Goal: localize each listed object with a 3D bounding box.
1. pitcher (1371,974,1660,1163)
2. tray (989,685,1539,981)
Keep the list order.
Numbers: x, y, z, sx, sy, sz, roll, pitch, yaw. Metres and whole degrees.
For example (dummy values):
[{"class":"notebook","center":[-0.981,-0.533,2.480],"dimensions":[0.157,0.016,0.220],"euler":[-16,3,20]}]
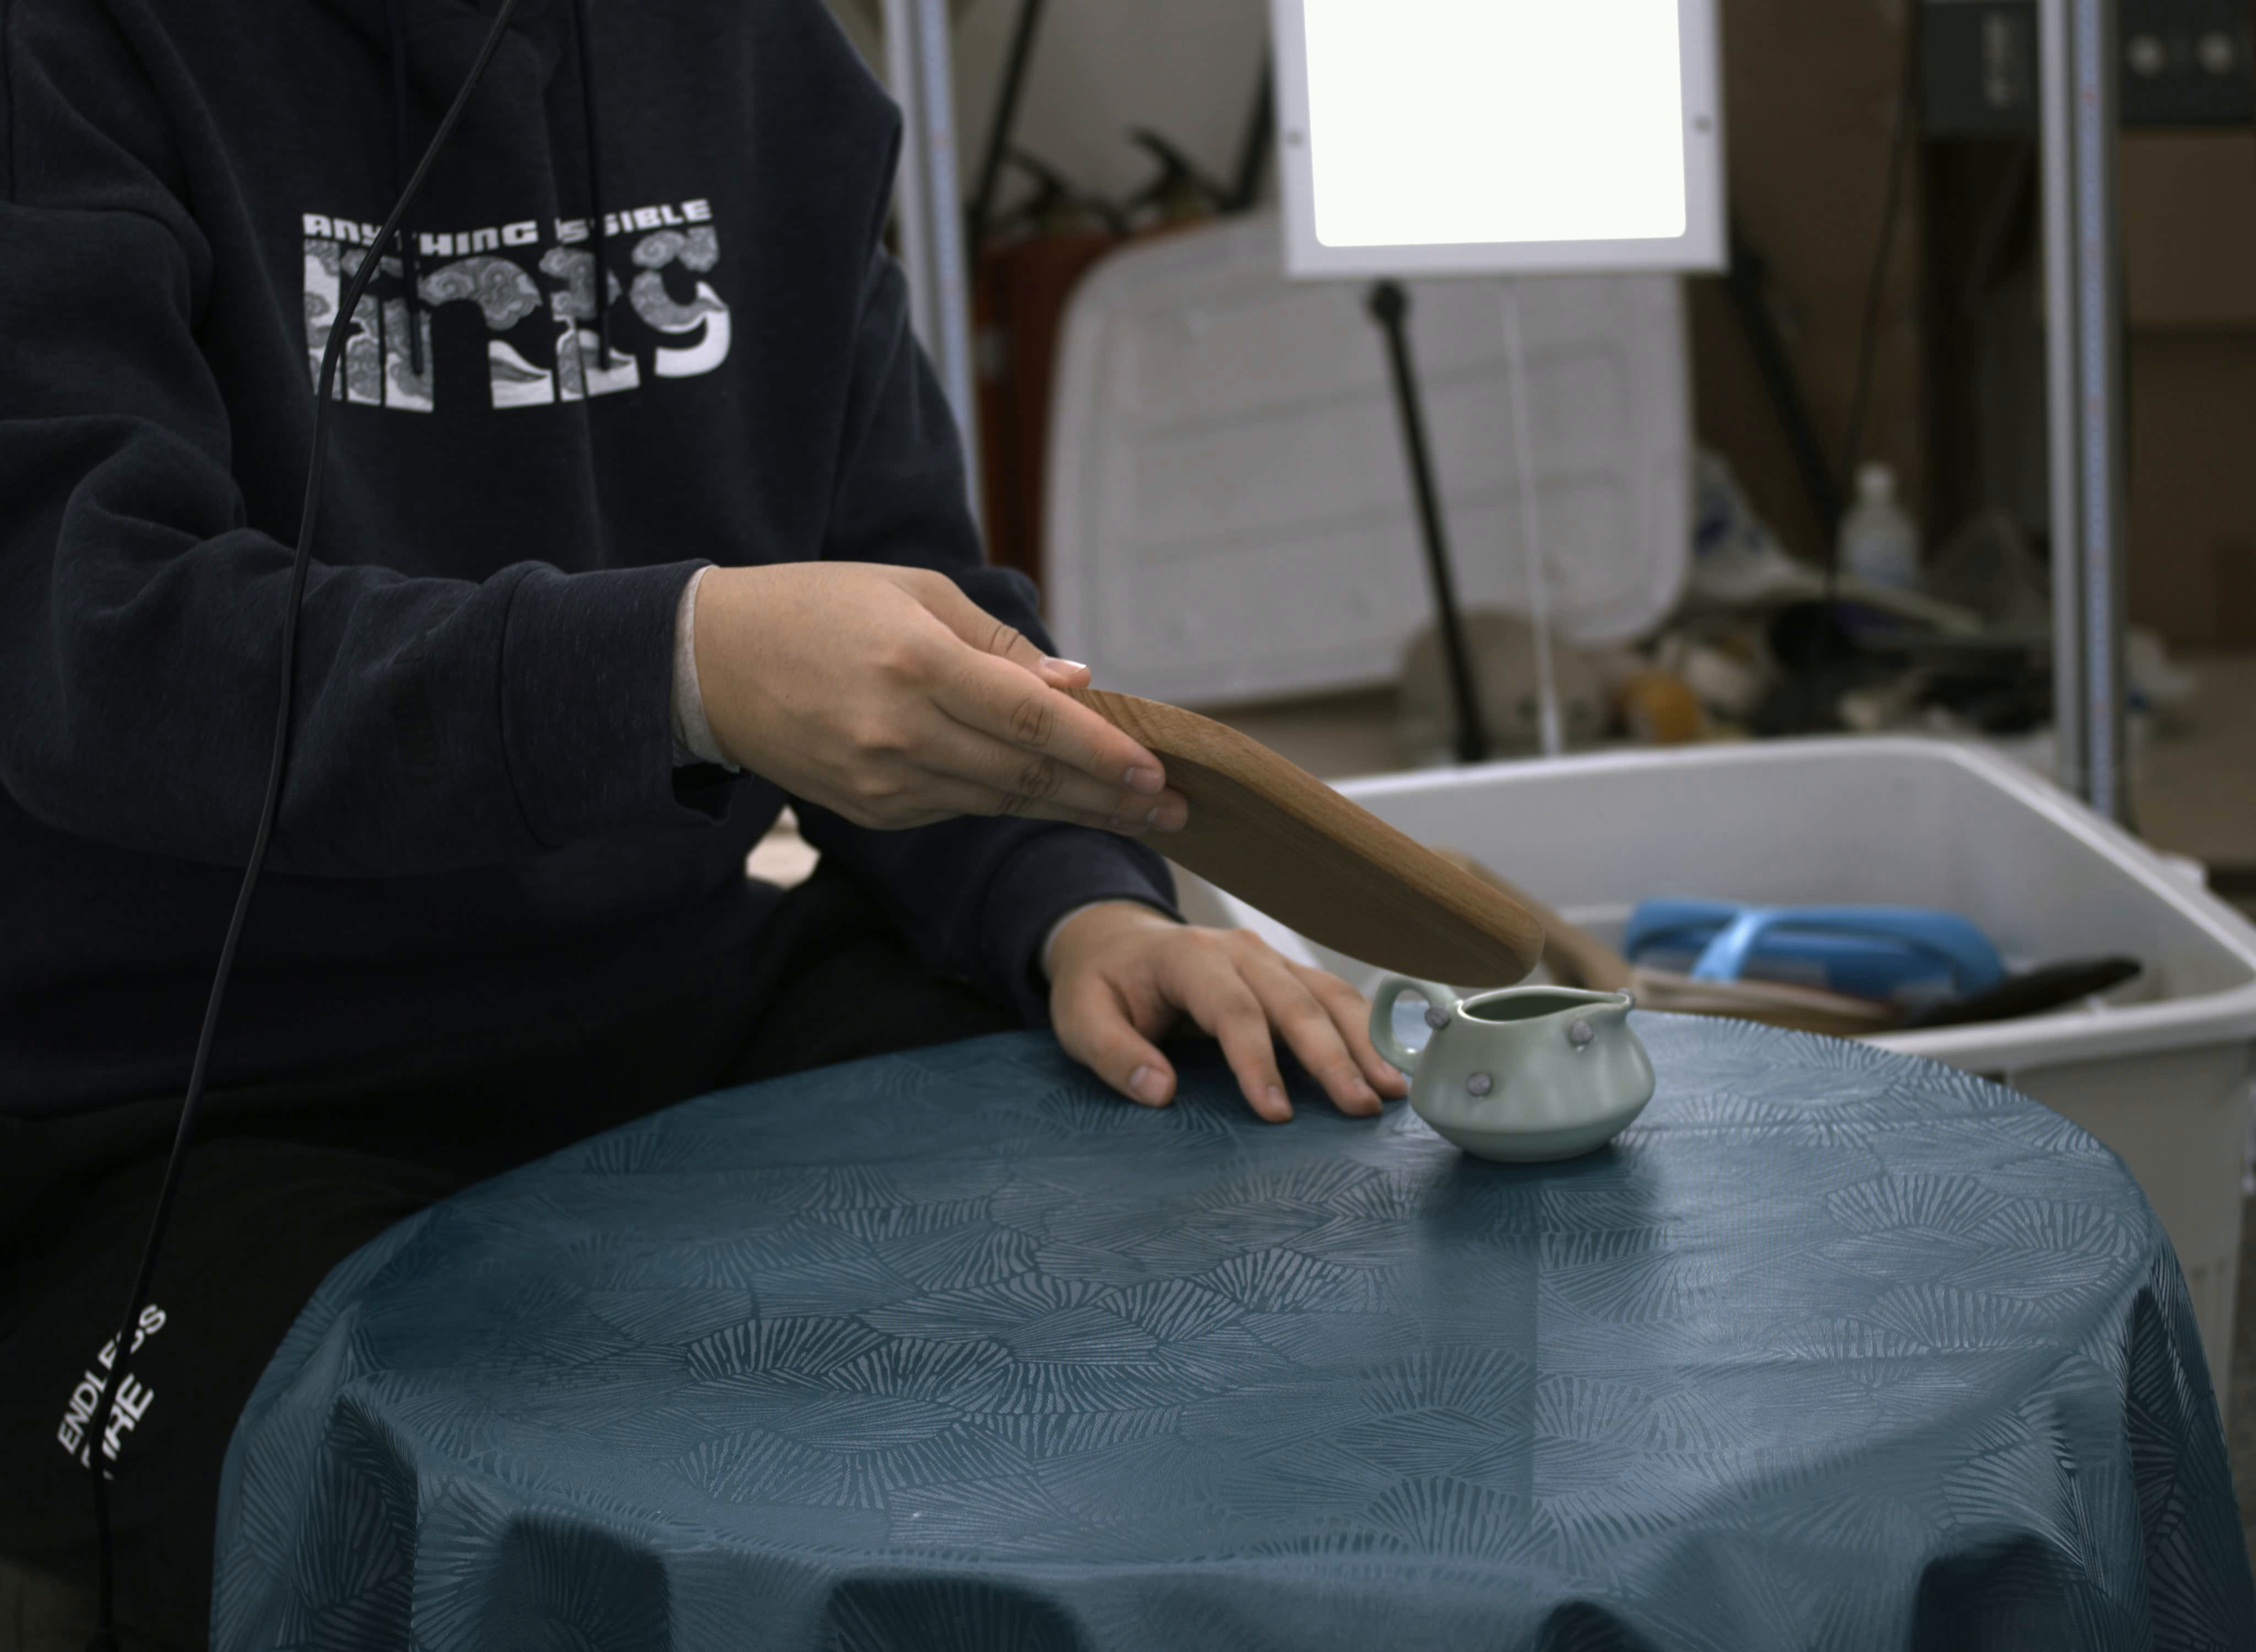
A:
[{"class":"pitcher","center":[0.132,0.083,1.915],"dimensions":[0.110,0.060,0.084],"euler":[2,14,36]},{"class":"tray","center":[0.046,0.004,1.811],"dimensions":[0.104,0.020,0.226],"euler":[-1,-22,46]}]
